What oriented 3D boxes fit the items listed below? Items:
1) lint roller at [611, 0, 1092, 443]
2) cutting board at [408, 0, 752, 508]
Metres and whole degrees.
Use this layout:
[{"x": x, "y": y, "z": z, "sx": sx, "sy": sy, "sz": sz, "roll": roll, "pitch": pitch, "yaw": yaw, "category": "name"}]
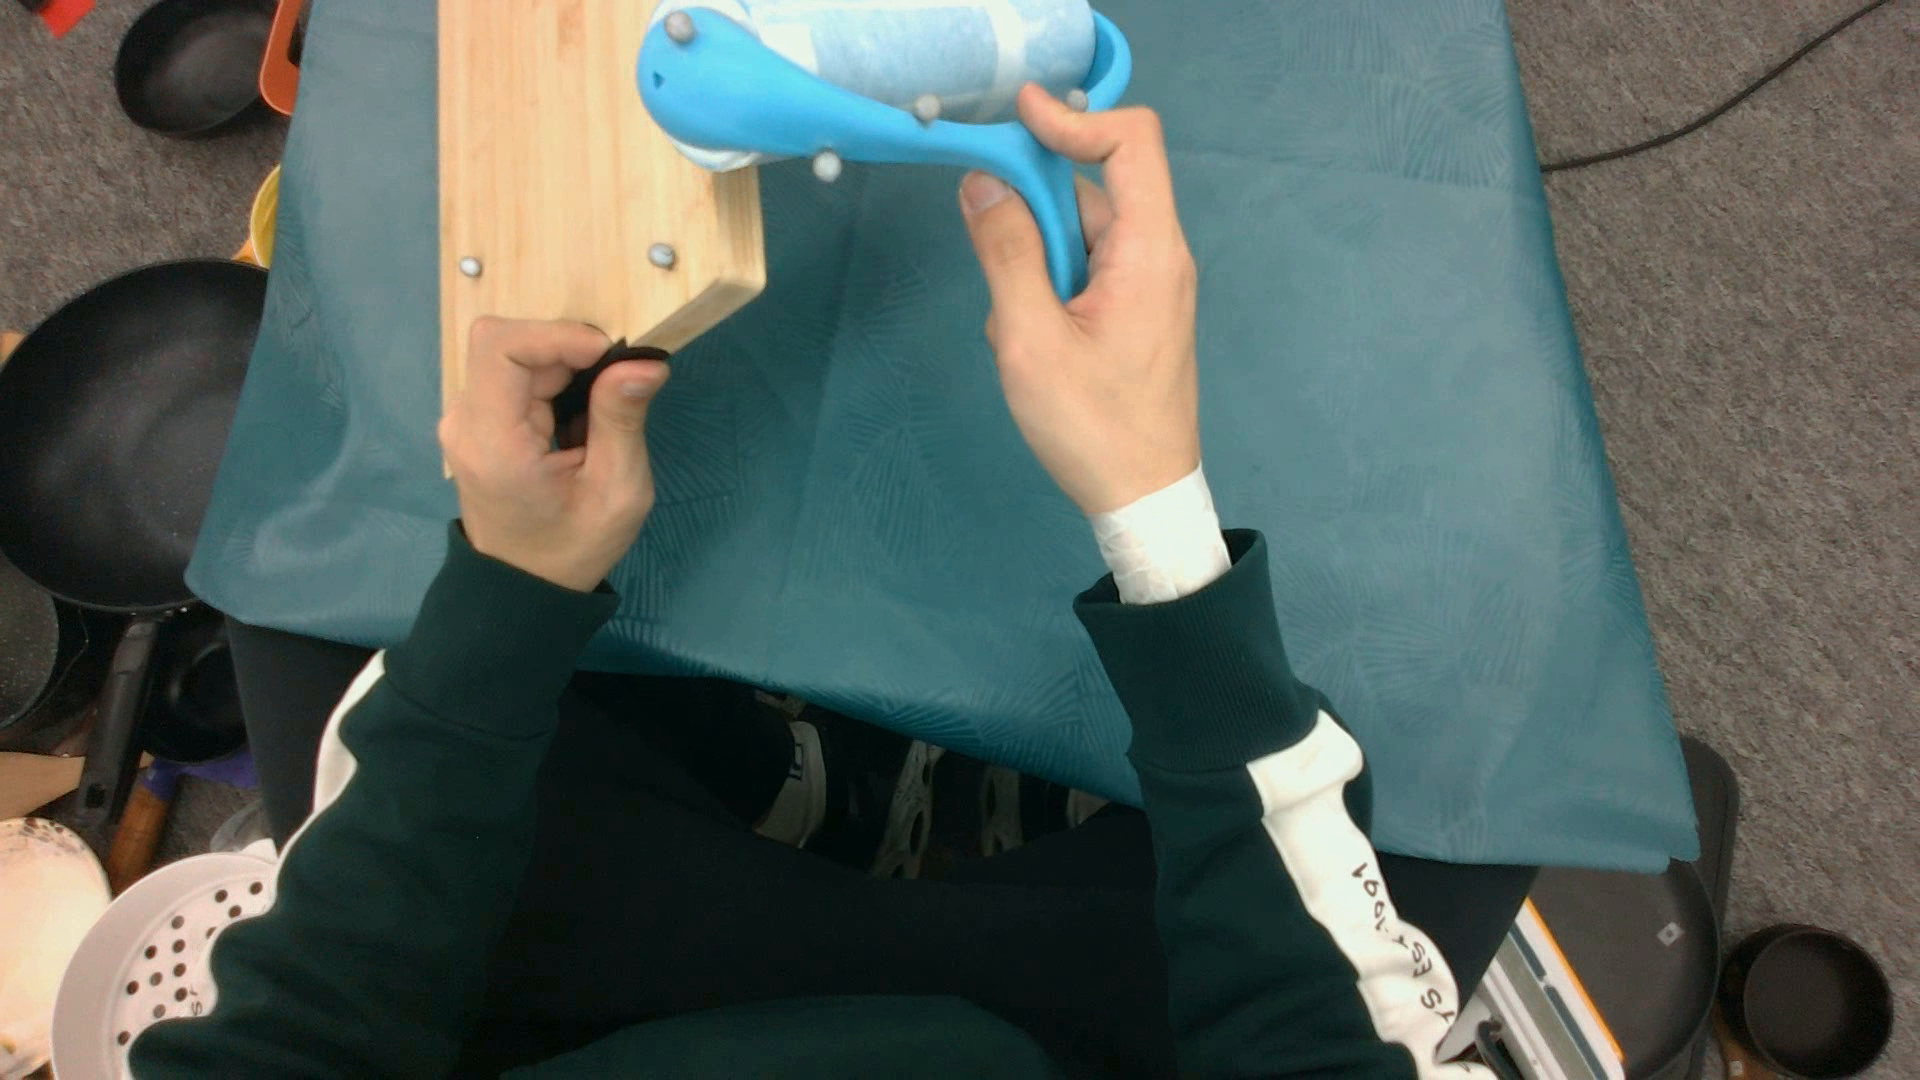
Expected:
[{"x": 0.000, "y": -0.125, "z": 0.488, "sx": 0.067, "sy": 0.230, "sz": 0.180, "roll": -31, "pitch": 94, "yaw": 38, "category": "lint roller"}, {"x": -0.173, "y": -0.212, "z": 0.569, "sx": 0.023, "sy": 0.249, "sz": 0.349, "roll": 4, "pitch": 71, "yaw": -41, "category": "cutting board"}]
